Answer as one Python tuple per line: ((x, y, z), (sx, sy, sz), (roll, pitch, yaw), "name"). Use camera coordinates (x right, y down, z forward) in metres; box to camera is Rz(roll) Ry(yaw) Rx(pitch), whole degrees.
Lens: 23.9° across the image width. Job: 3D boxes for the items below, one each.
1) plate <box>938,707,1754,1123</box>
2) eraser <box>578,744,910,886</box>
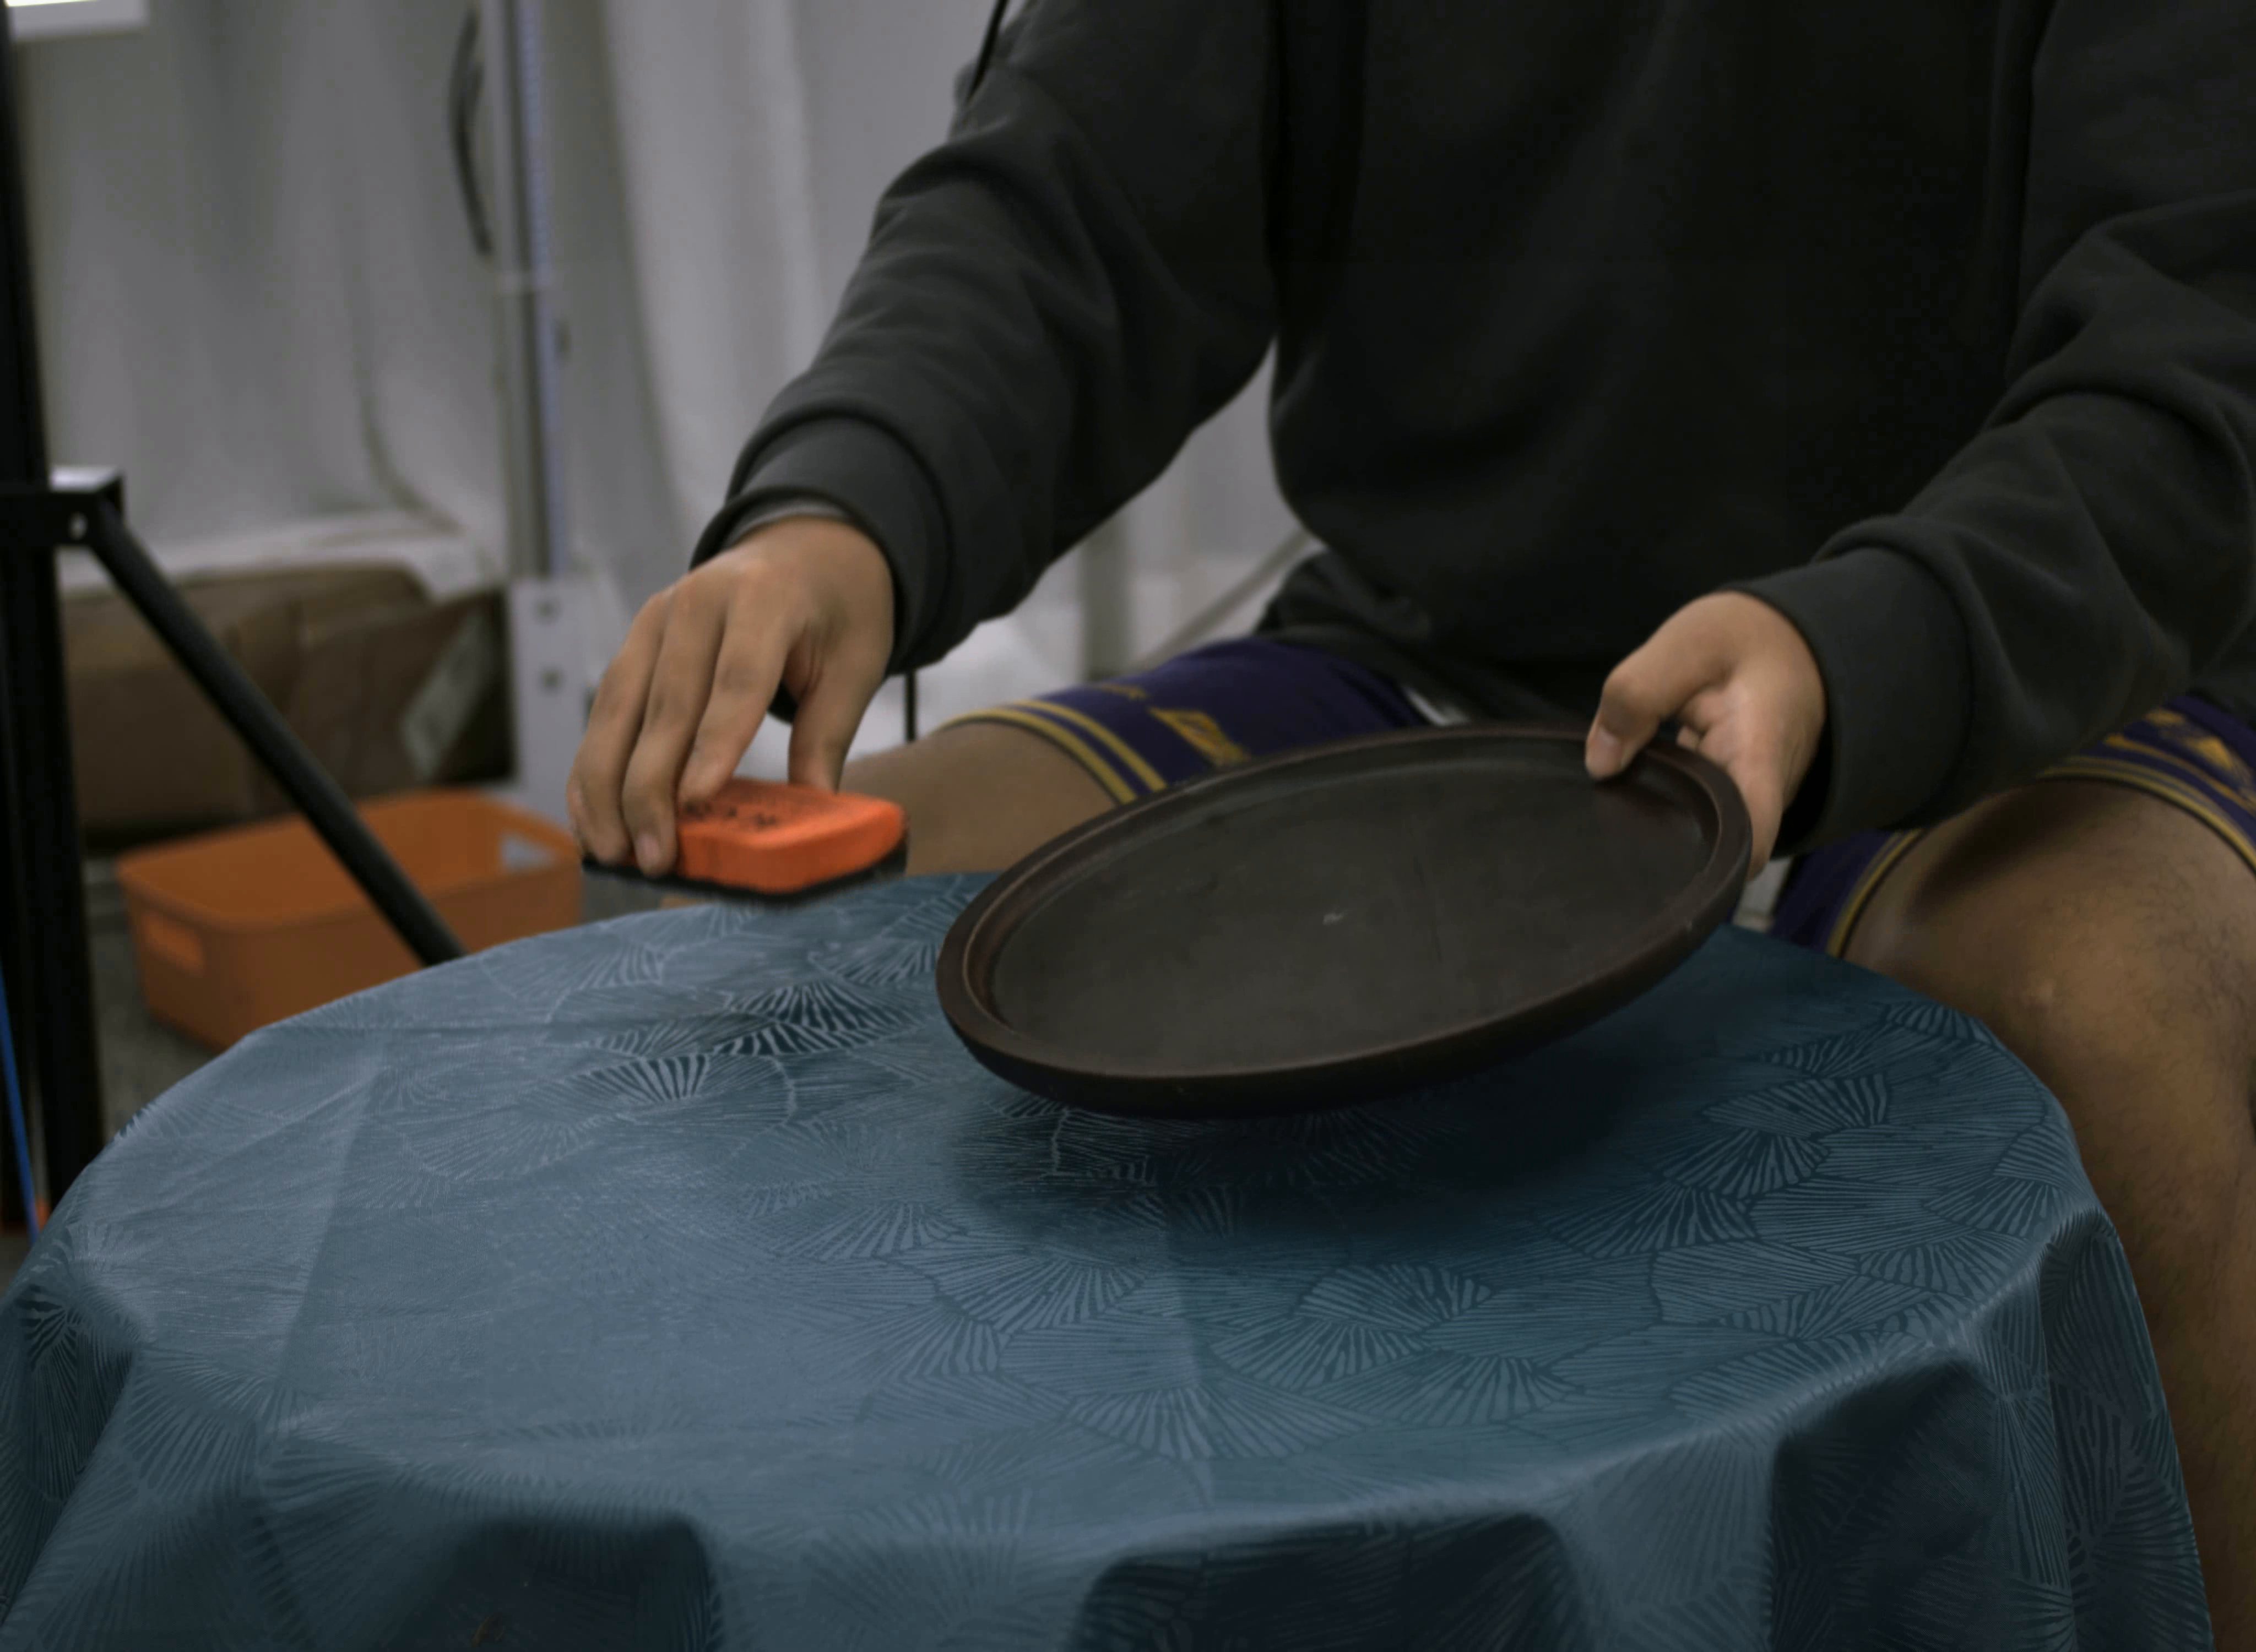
((0.066, 0.025, 1.611), (0.254, 0.029, 0.256), (-14, 20, 4), "plate")
((-0.123, -0.004, 1.700), (0.058, 0.023, 0.110), (-22, 19, -38), "eraser")
